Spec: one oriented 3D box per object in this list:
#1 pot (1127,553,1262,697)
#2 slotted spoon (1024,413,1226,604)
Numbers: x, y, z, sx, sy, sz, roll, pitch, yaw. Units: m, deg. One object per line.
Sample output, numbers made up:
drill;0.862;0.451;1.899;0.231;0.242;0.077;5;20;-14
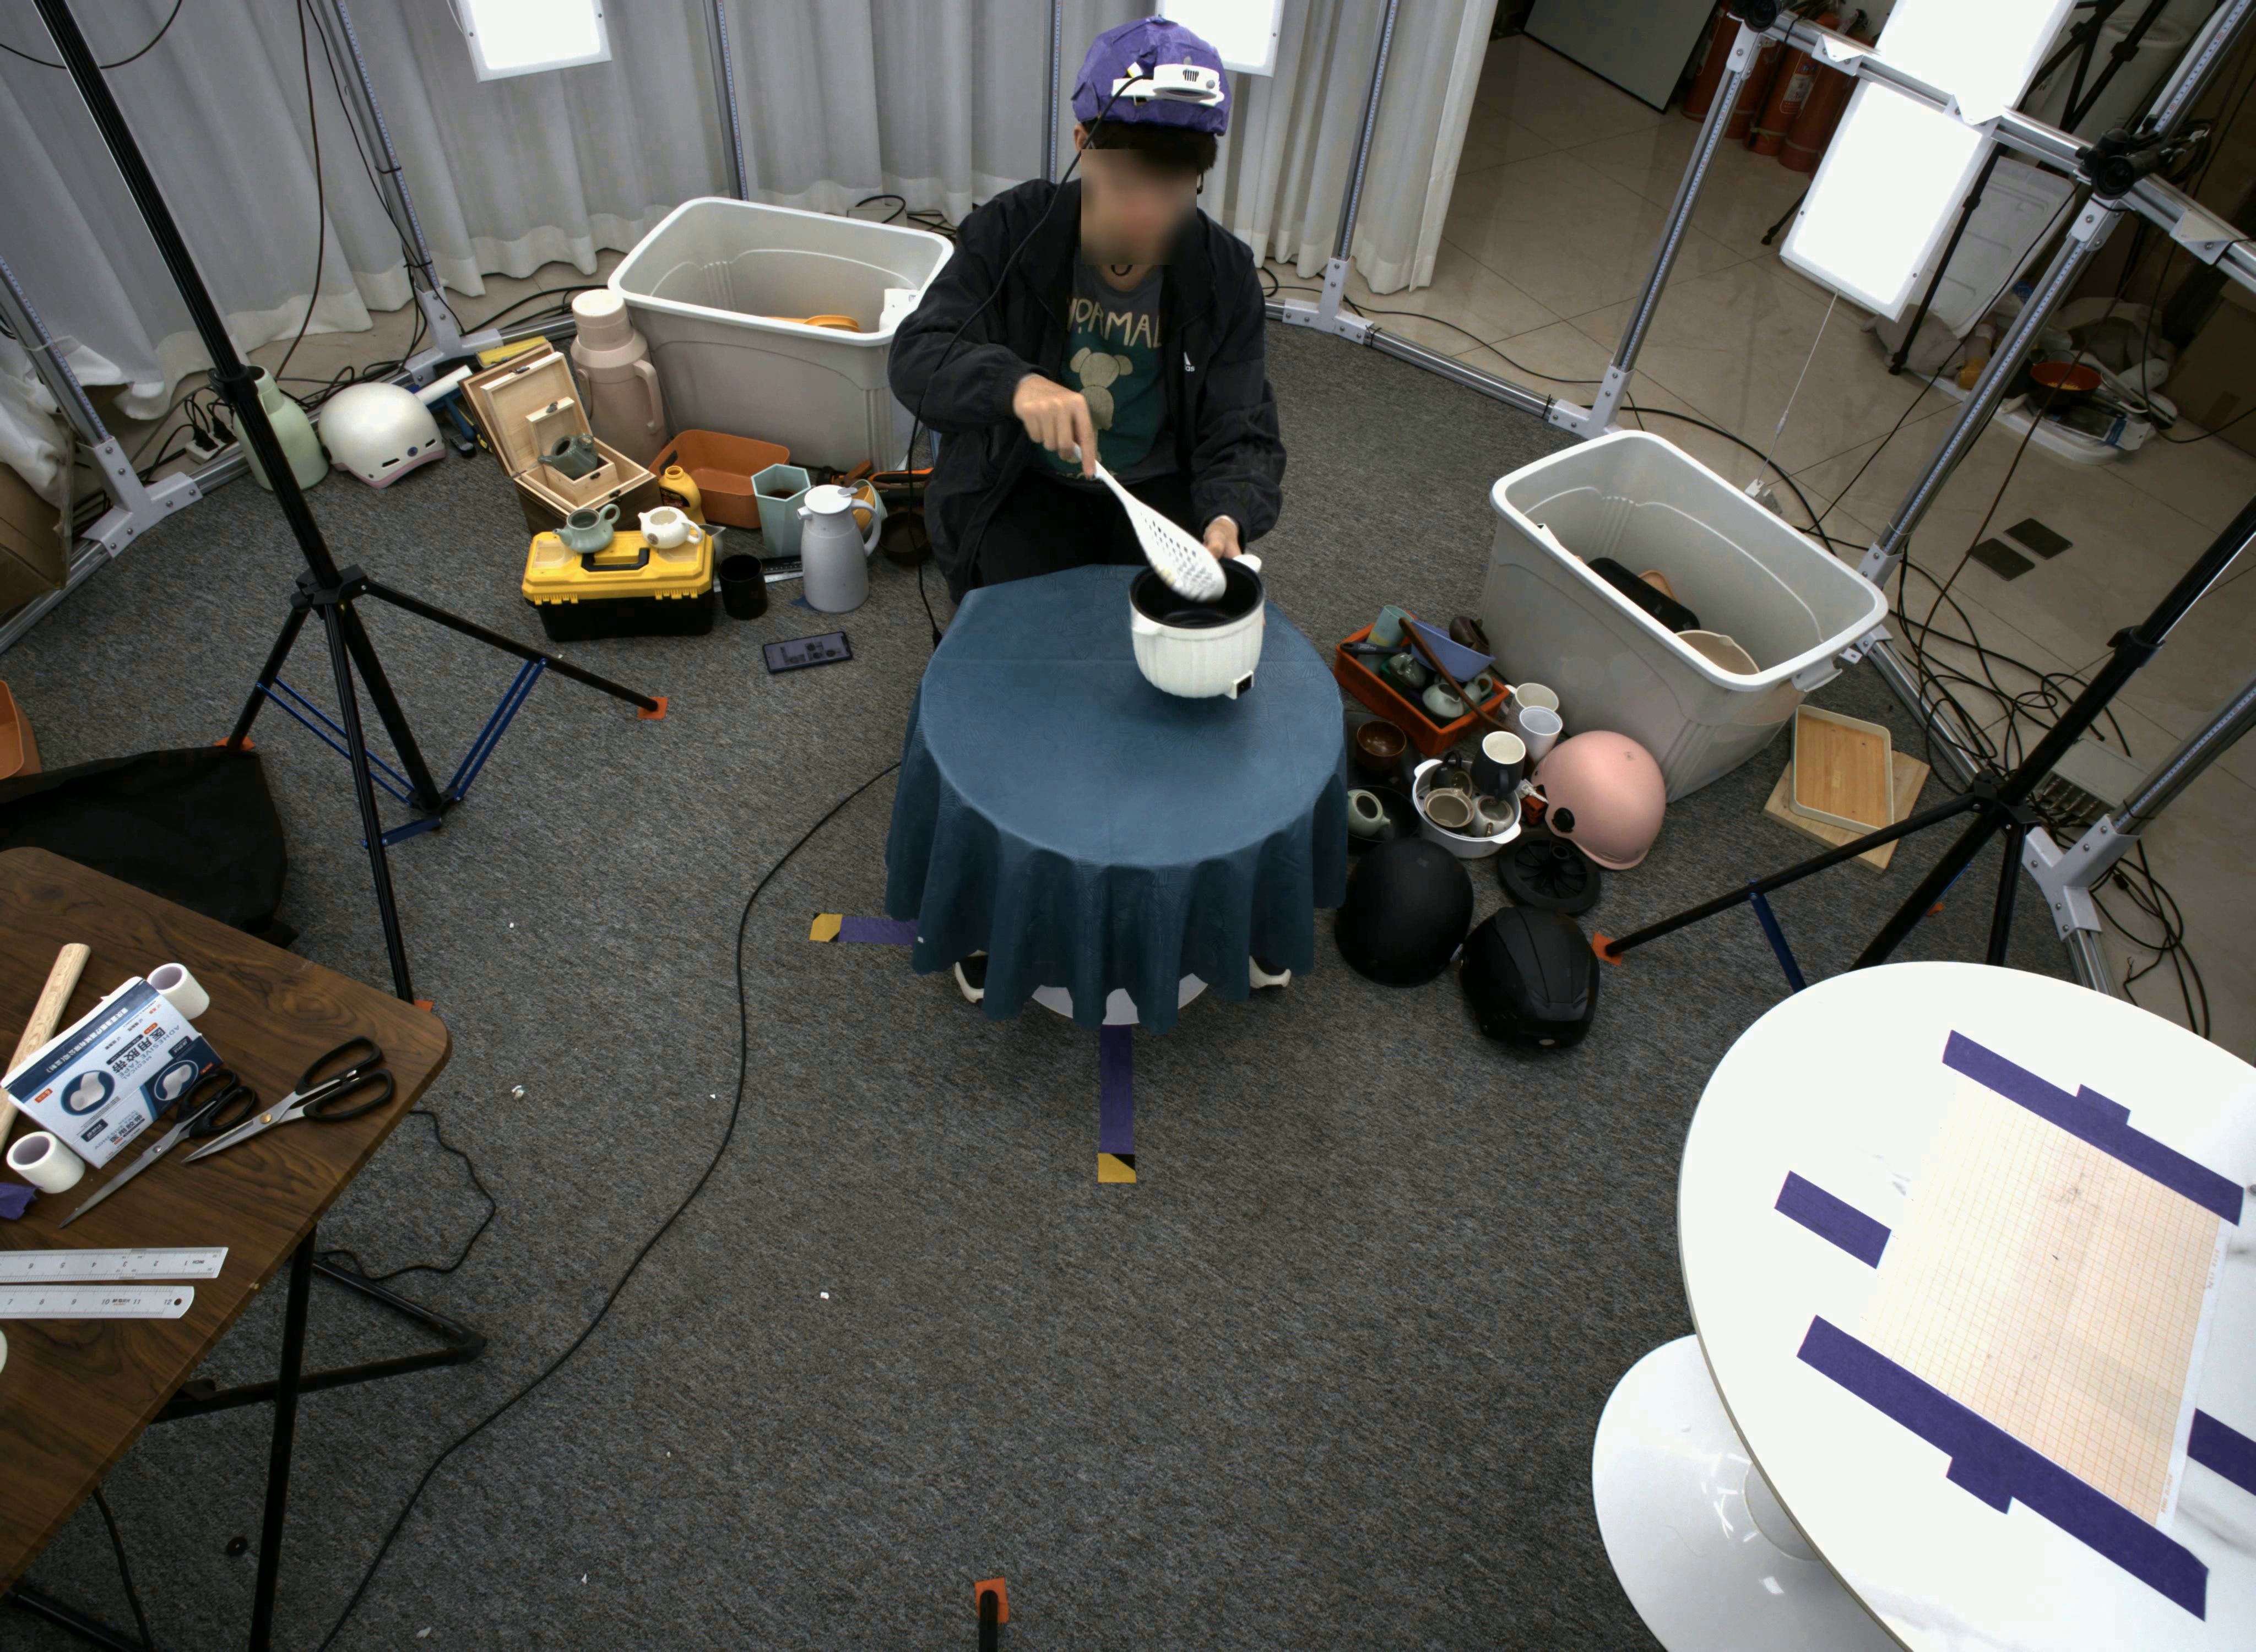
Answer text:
pot;0.088;-0.273;1.772;0.242;0.139;0.193;-33;51;-31
slotted spoon;-0.005;-0.420;1.710;0.050;0.136;0.347;-42;94;-13
